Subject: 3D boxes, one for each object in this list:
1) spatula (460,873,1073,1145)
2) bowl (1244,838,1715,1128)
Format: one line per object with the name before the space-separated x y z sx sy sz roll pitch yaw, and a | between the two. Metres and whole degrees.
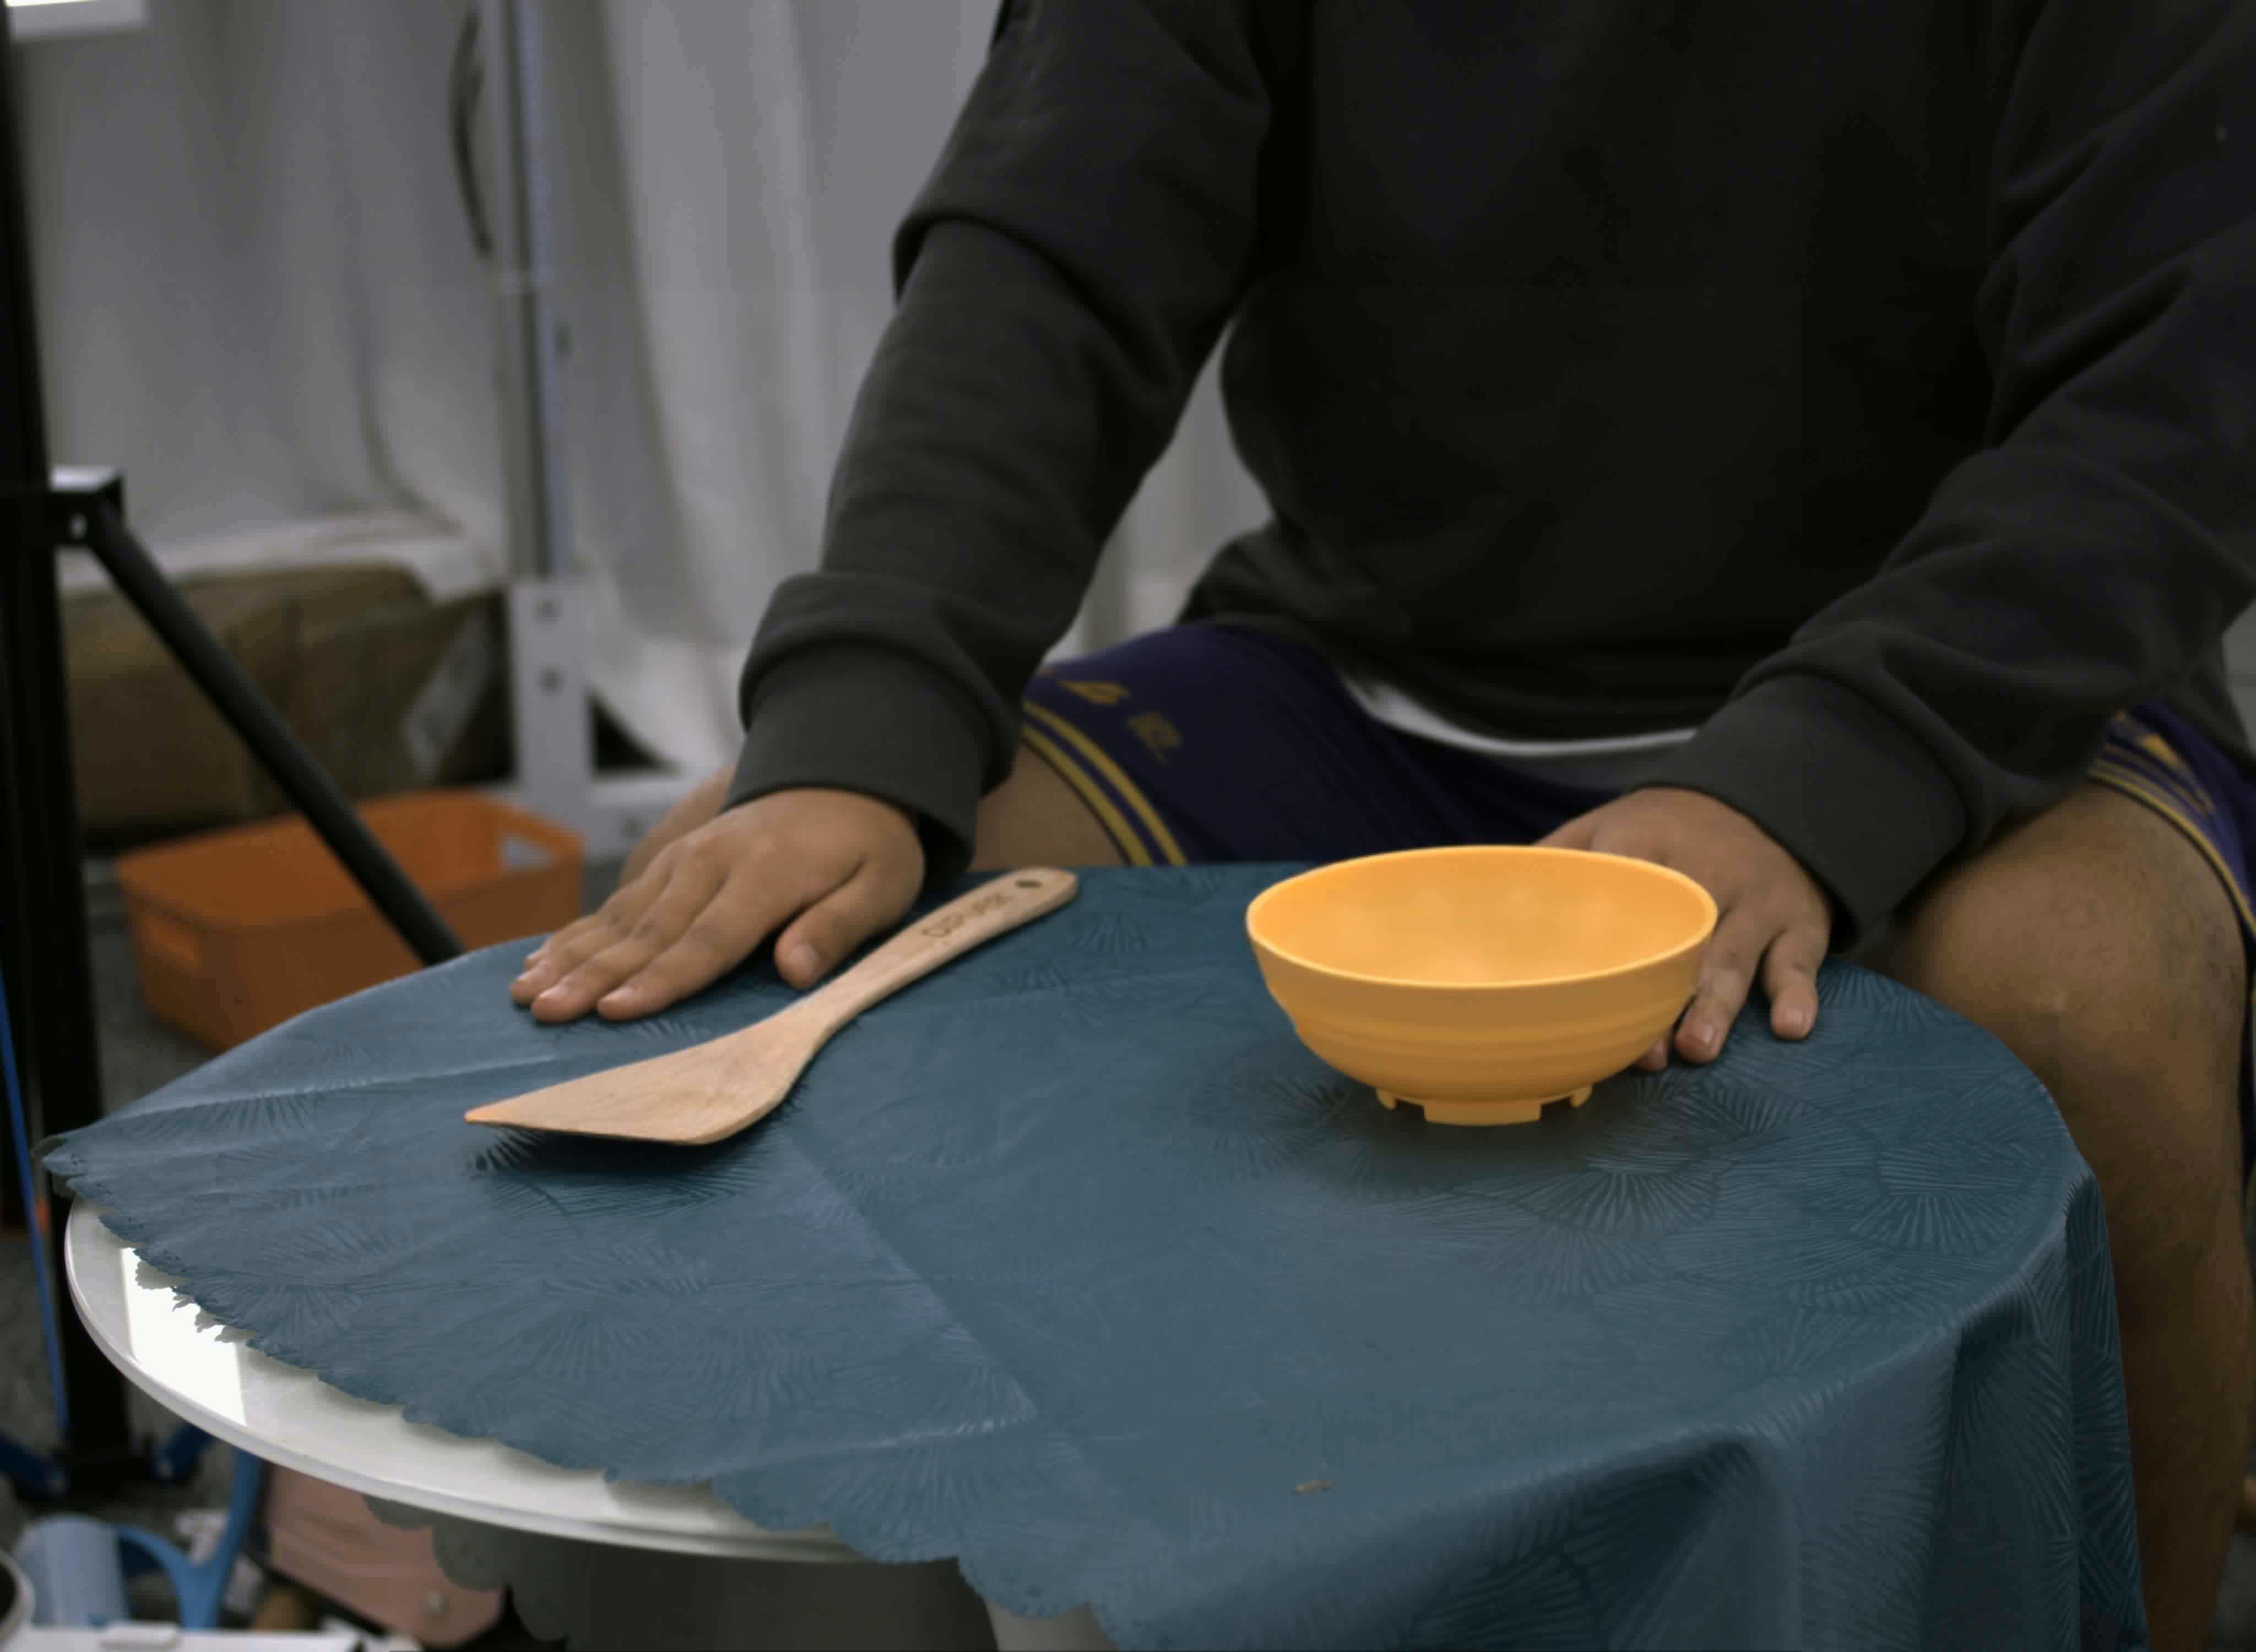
spatula | -0.098 0.057 1.729 0.081 0.016 0.322 5 17 27
bowl | 0.107 0.054 1.627 0.144 0.060 0.146 -1 17 -1
